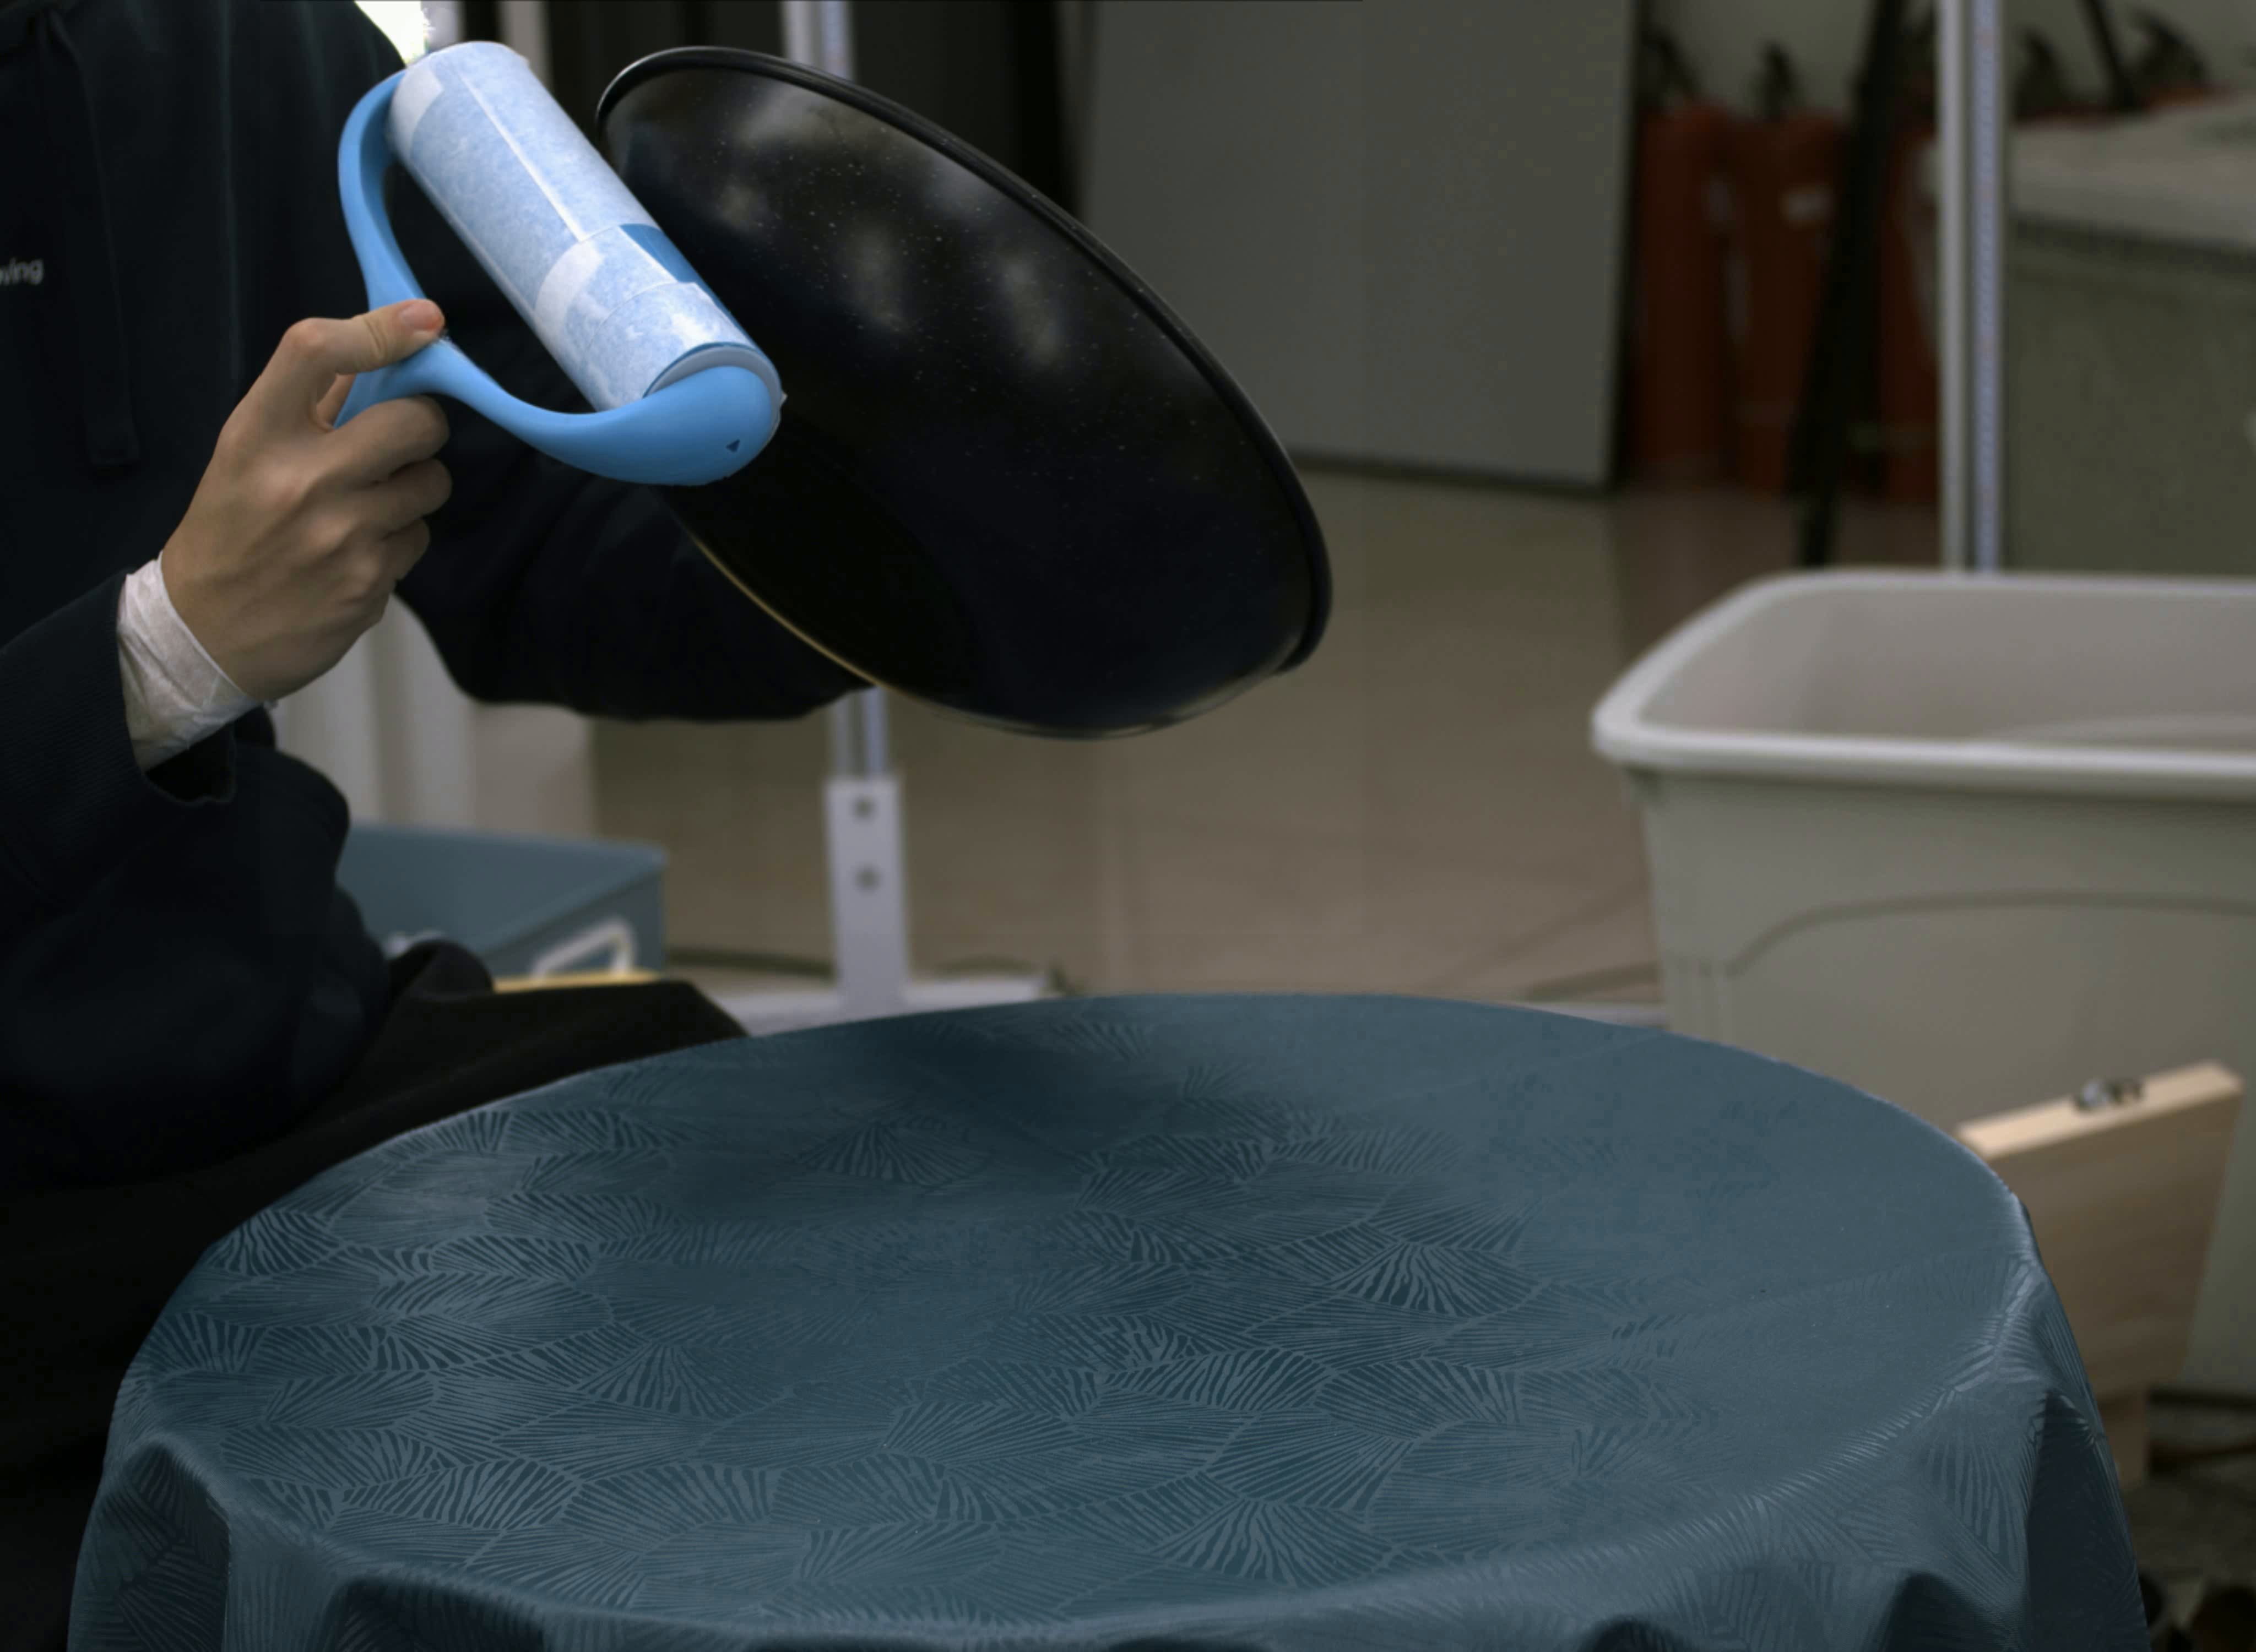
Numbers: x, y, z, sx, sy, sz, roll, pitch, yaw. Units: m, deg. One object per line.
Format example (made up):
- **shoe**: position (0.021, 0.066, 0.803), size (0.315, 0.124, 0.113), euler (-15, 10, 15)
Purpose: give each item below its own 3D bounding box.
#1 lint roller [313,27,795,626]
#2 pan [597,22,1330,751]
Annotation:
- **lint roller**: position (-0.215, -0.145, 1.758), size (0.231, 0.181, 0.067), euler (45, 6, 41)
- **pan**: position (-0.079, -0.101, 1.906), size (0.310, 0.478, 0.111), euler (36, 69, 10)
